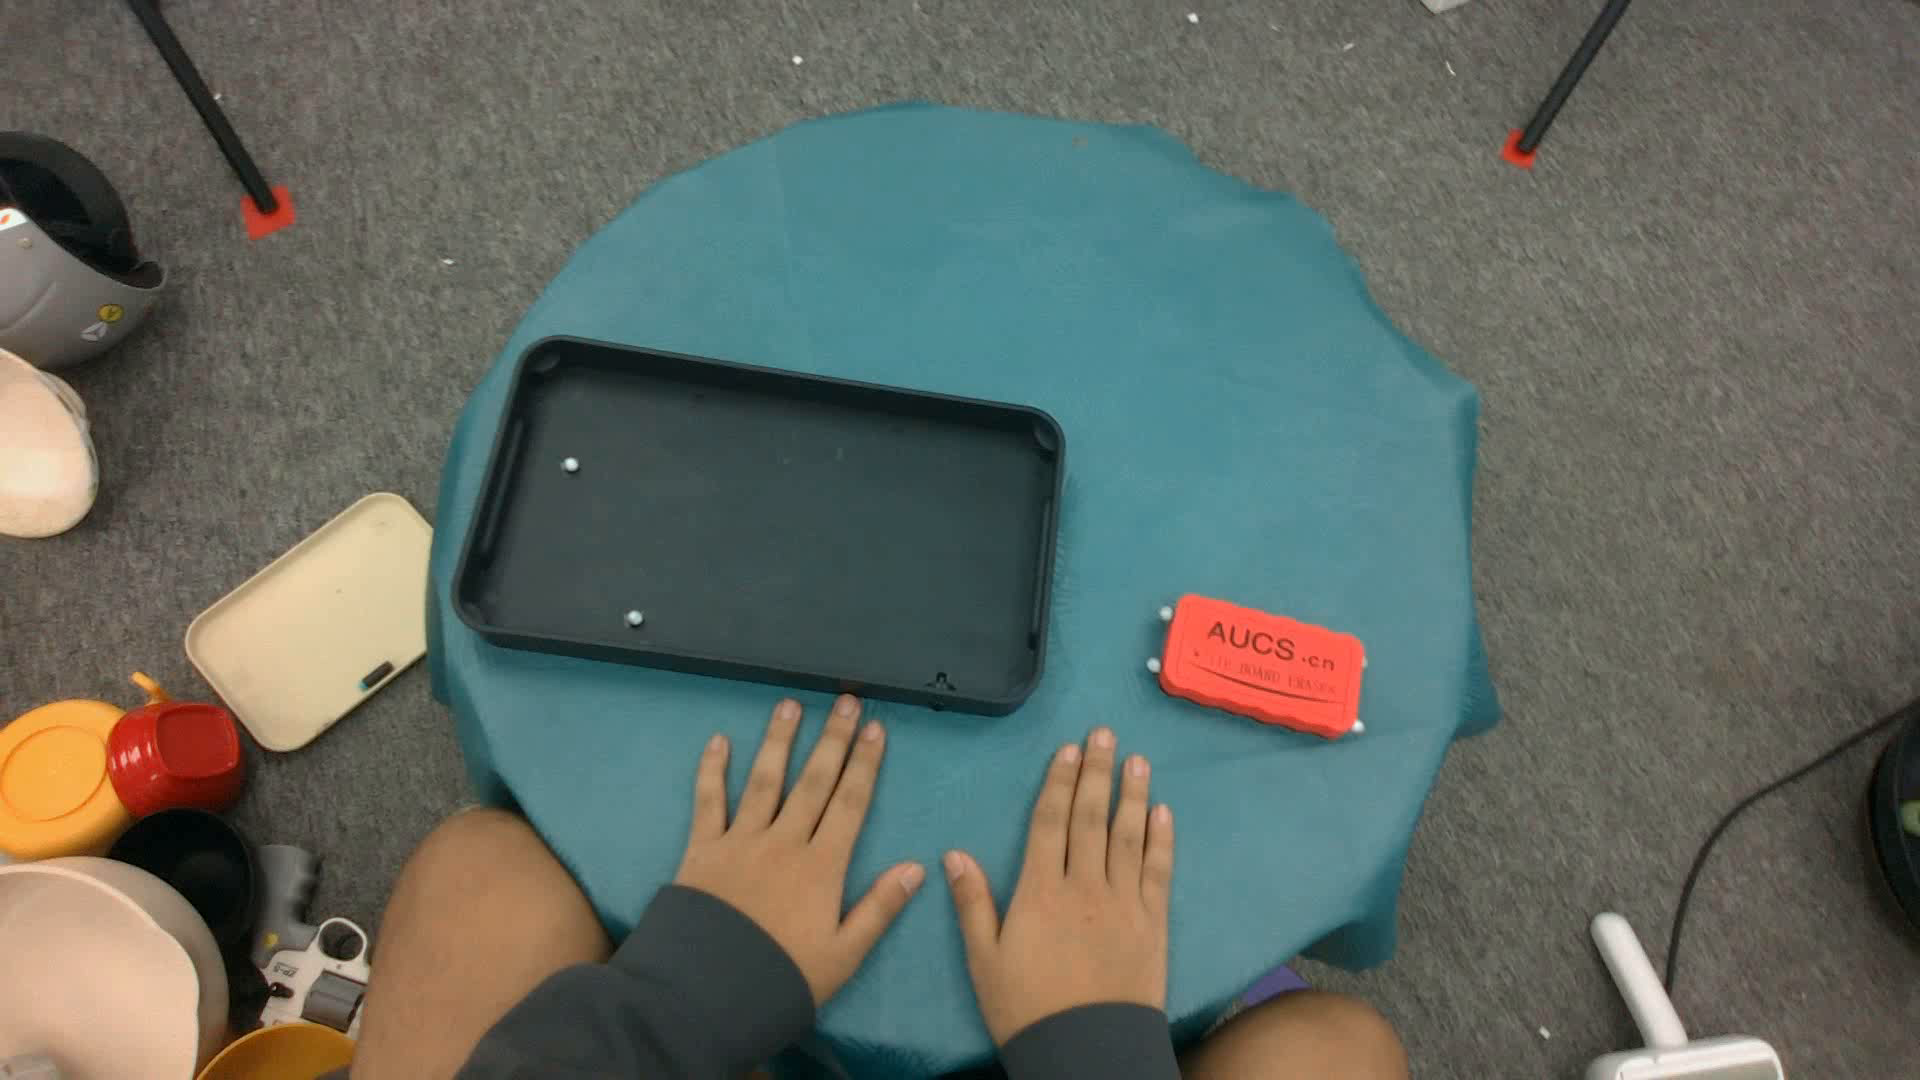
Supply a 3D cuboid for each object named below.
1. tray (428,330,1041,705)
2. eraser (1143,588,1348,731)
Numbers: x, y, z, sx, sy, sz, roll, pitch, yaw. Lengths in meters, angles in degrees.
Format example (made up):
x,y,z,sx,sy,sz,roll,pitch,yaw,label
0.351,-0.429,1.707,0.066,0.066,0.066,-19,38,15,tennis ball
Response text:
x,y,z,sx,sy,sz,roll,pitch,yaw,label
-0.118,-0.013,0.778,0.318,0.037,0.185,8,66,-4,tray
0.161,0.068,0.776,0.108,0.023,0.059,15,71,-1,eraser
